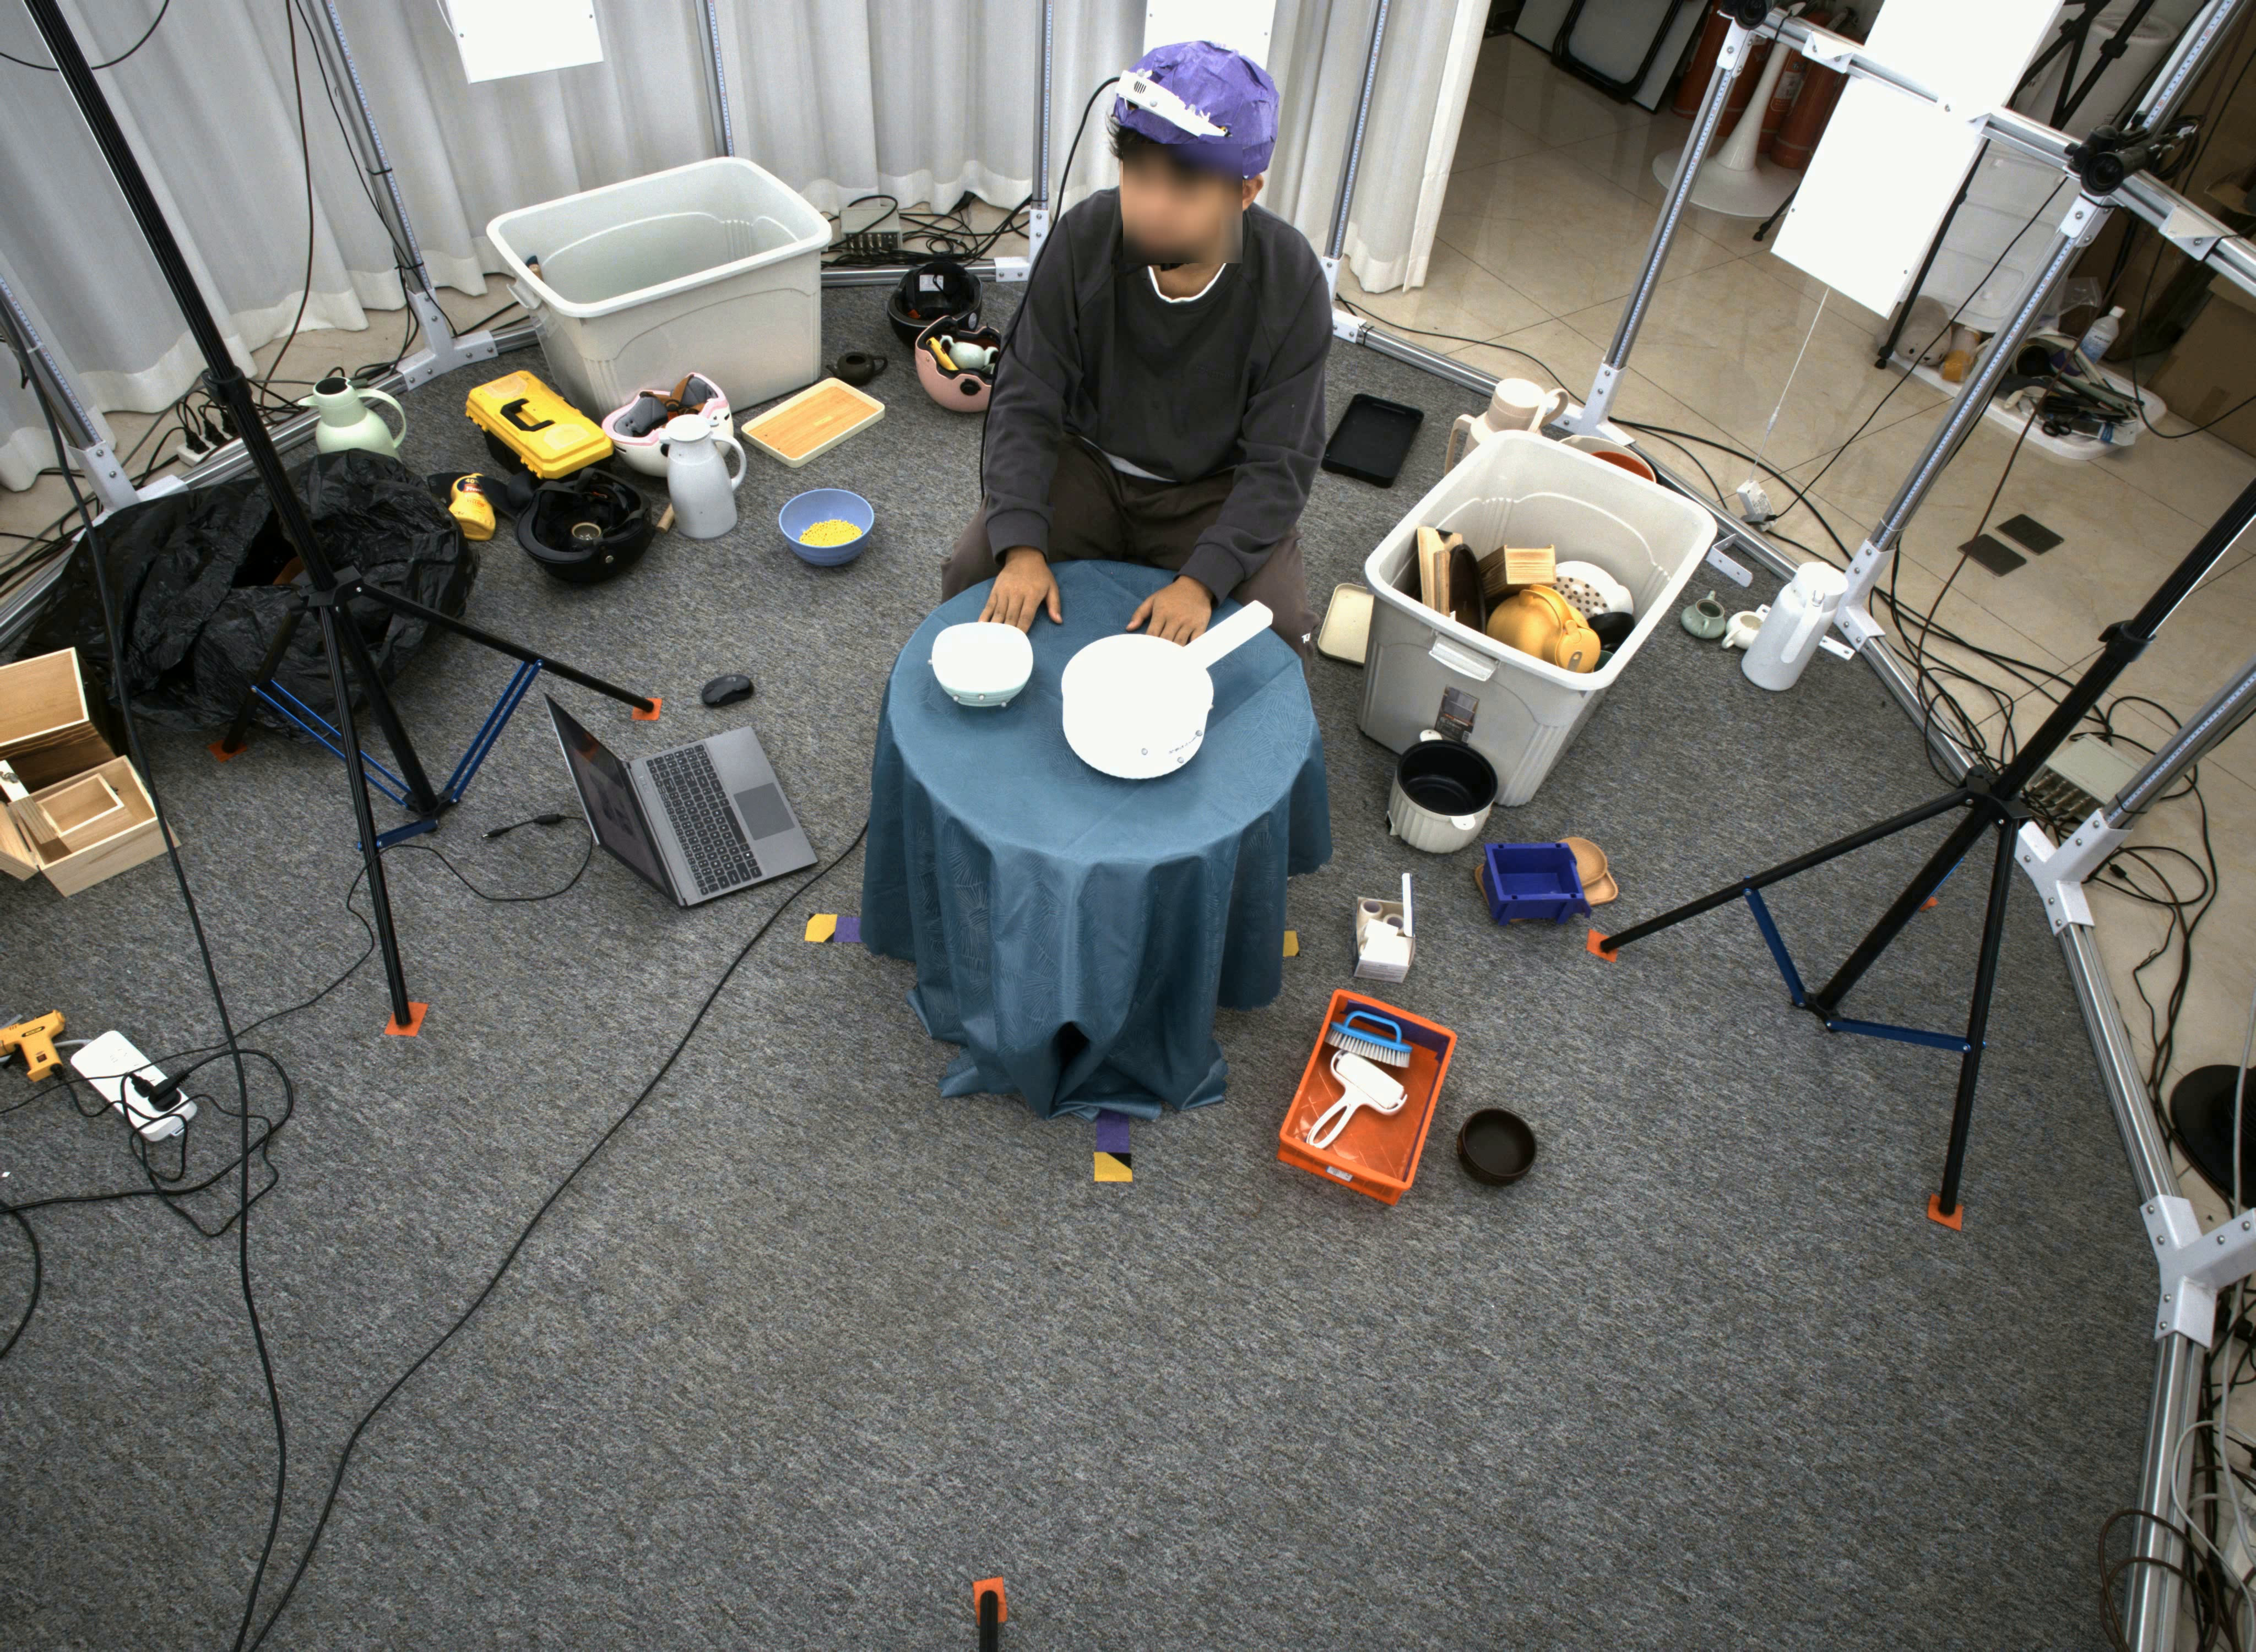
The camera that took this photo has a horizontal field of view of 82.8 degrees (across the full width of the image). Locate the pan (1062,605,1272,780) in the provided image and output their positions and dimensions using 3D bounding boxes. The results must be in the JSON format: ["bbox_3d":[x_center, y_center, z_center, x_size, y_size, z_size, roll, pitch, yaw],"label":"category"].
[{"bbox_3d":[0.064,-0.193,1.779,0.204,0.099,0.358,37,55,27],"label":"pan"}]

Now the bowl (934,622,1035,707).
[{"bbox_3d":[-0.201,-0.218,1.804,0.151,0.057,0.155,2,50,-2],"label":"bowl"}]
